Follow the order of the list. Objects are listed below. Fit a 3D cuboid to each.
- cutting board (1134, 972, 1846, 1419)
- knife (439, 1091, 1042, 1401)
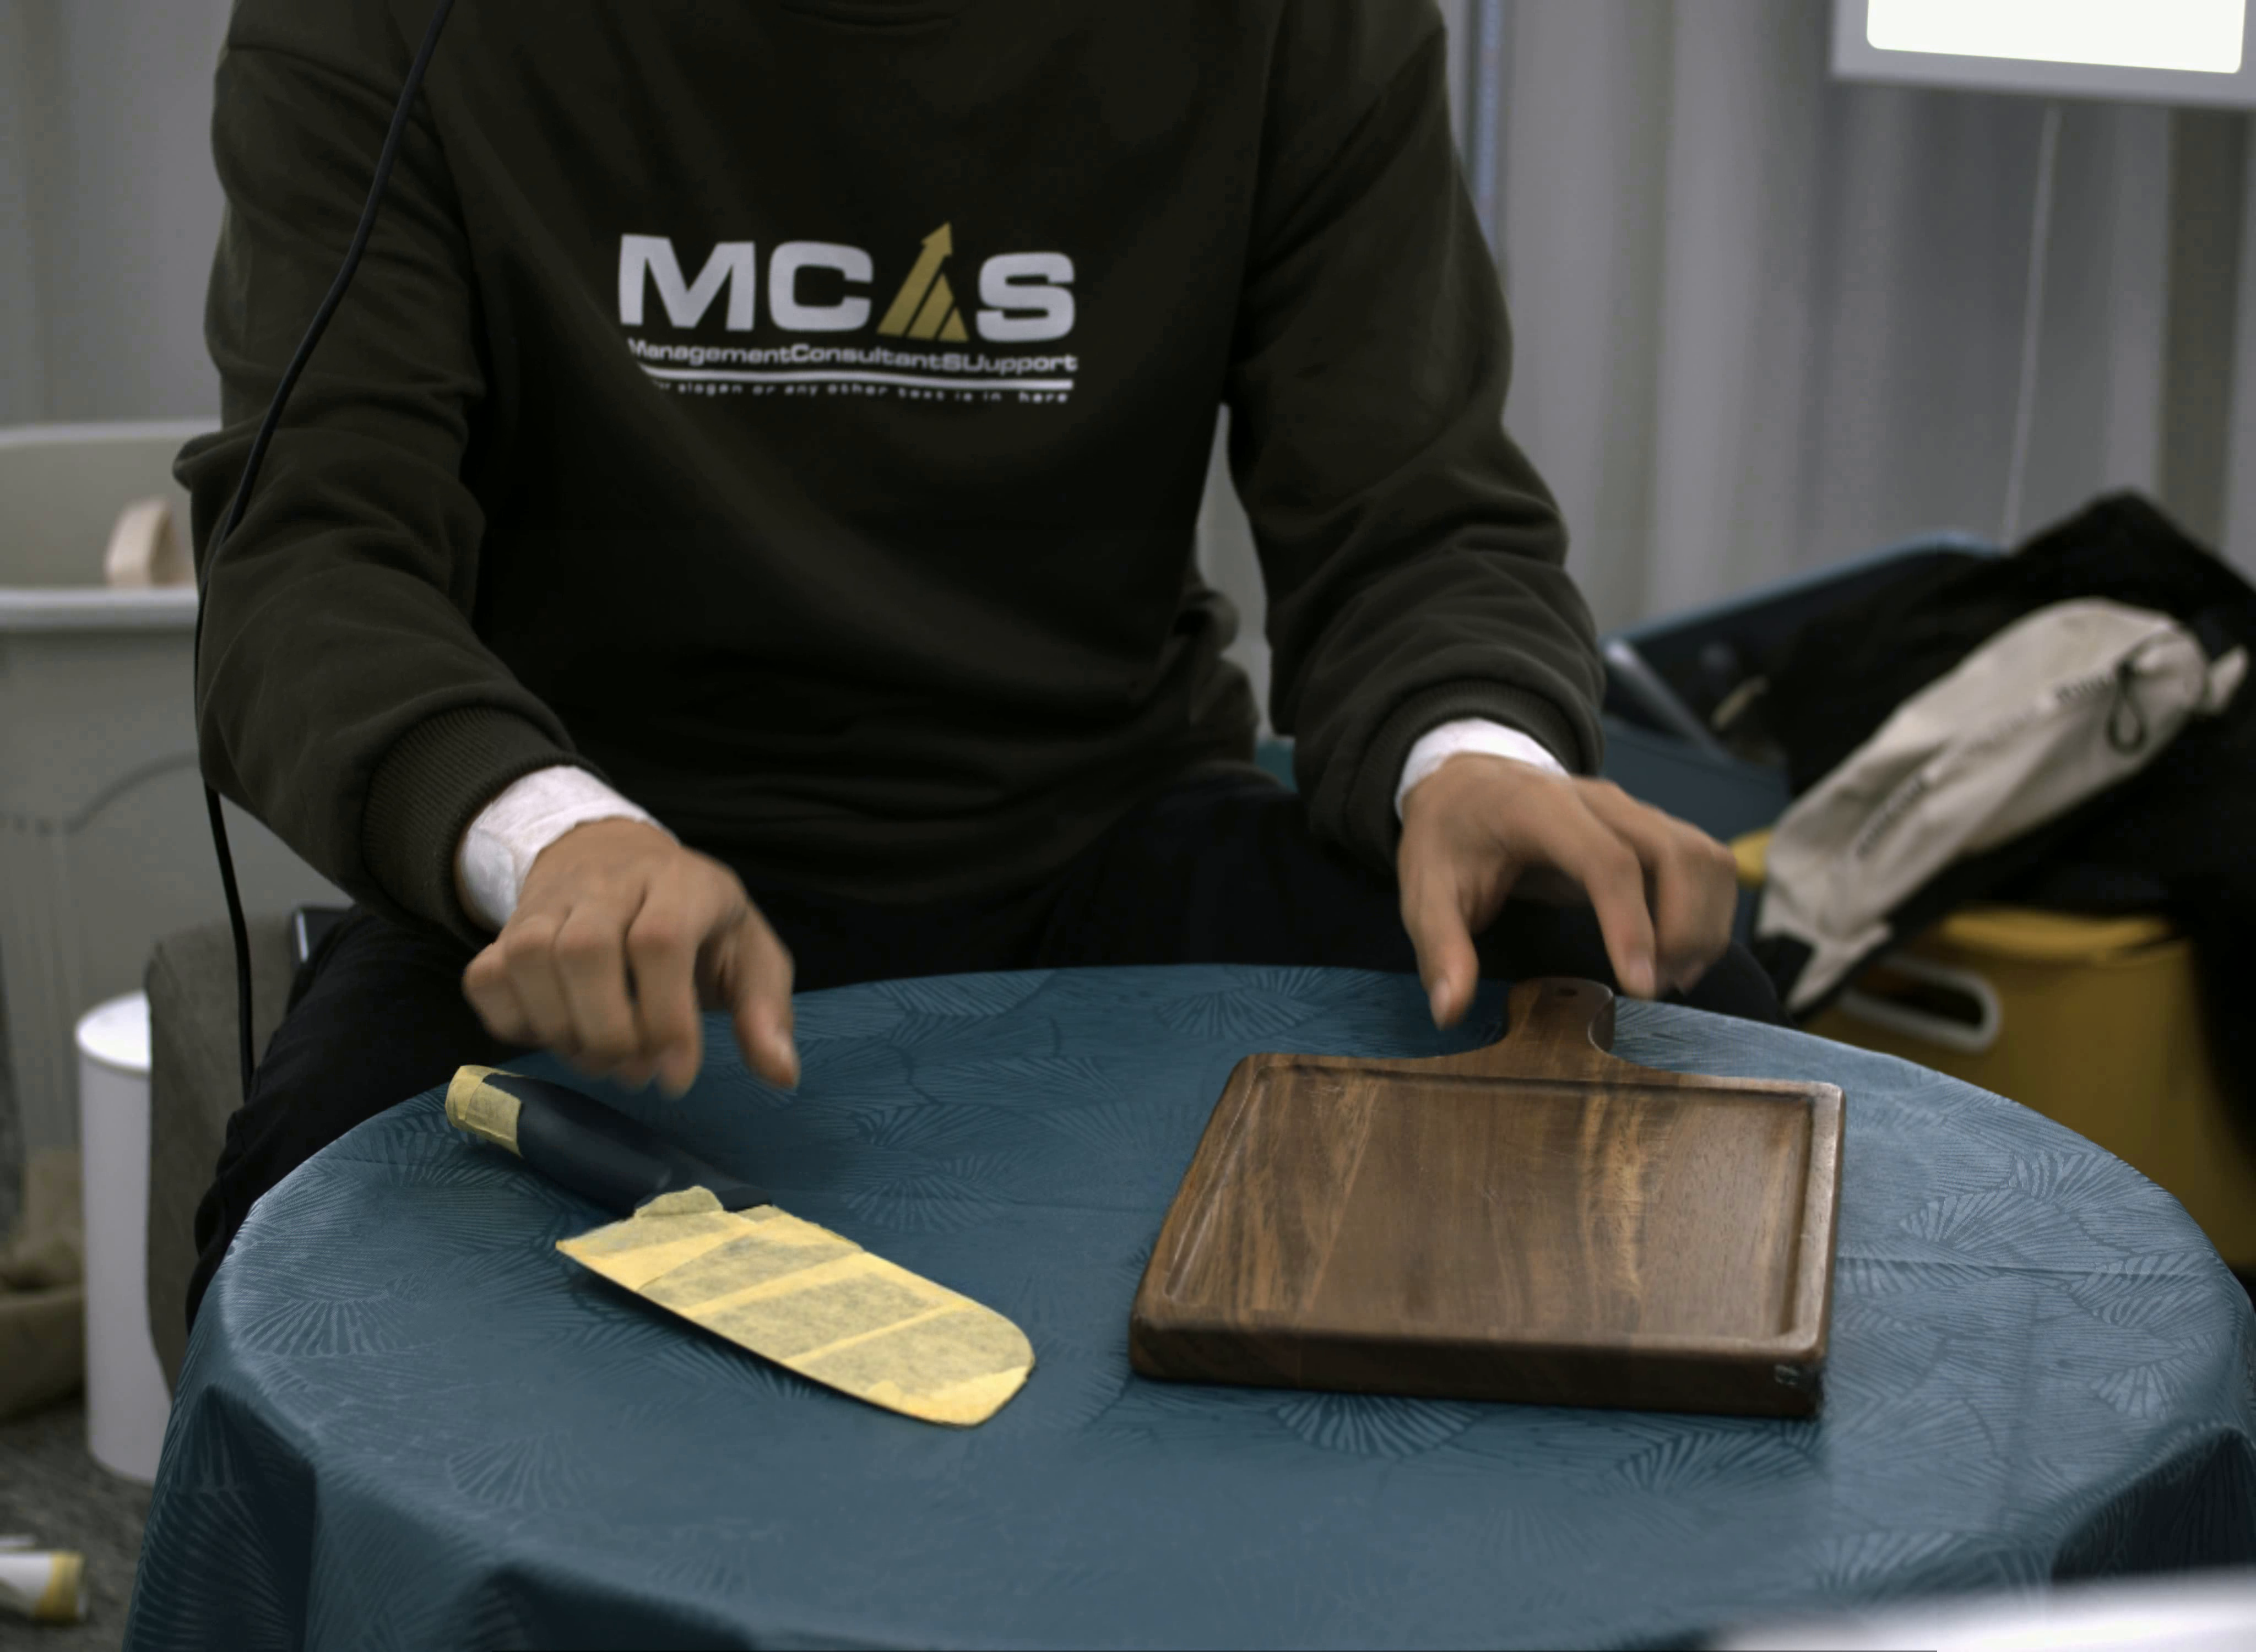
[{"bbox_3d":[0.121,0.105,1.617,0.200,0.023,0.351,3,15,7],"label":"cutting board"},{"bbox_3d":[-0.126,0.125,1.548,0.081,0.027,0.285,-9,19,-40],"label":"knife"}]
